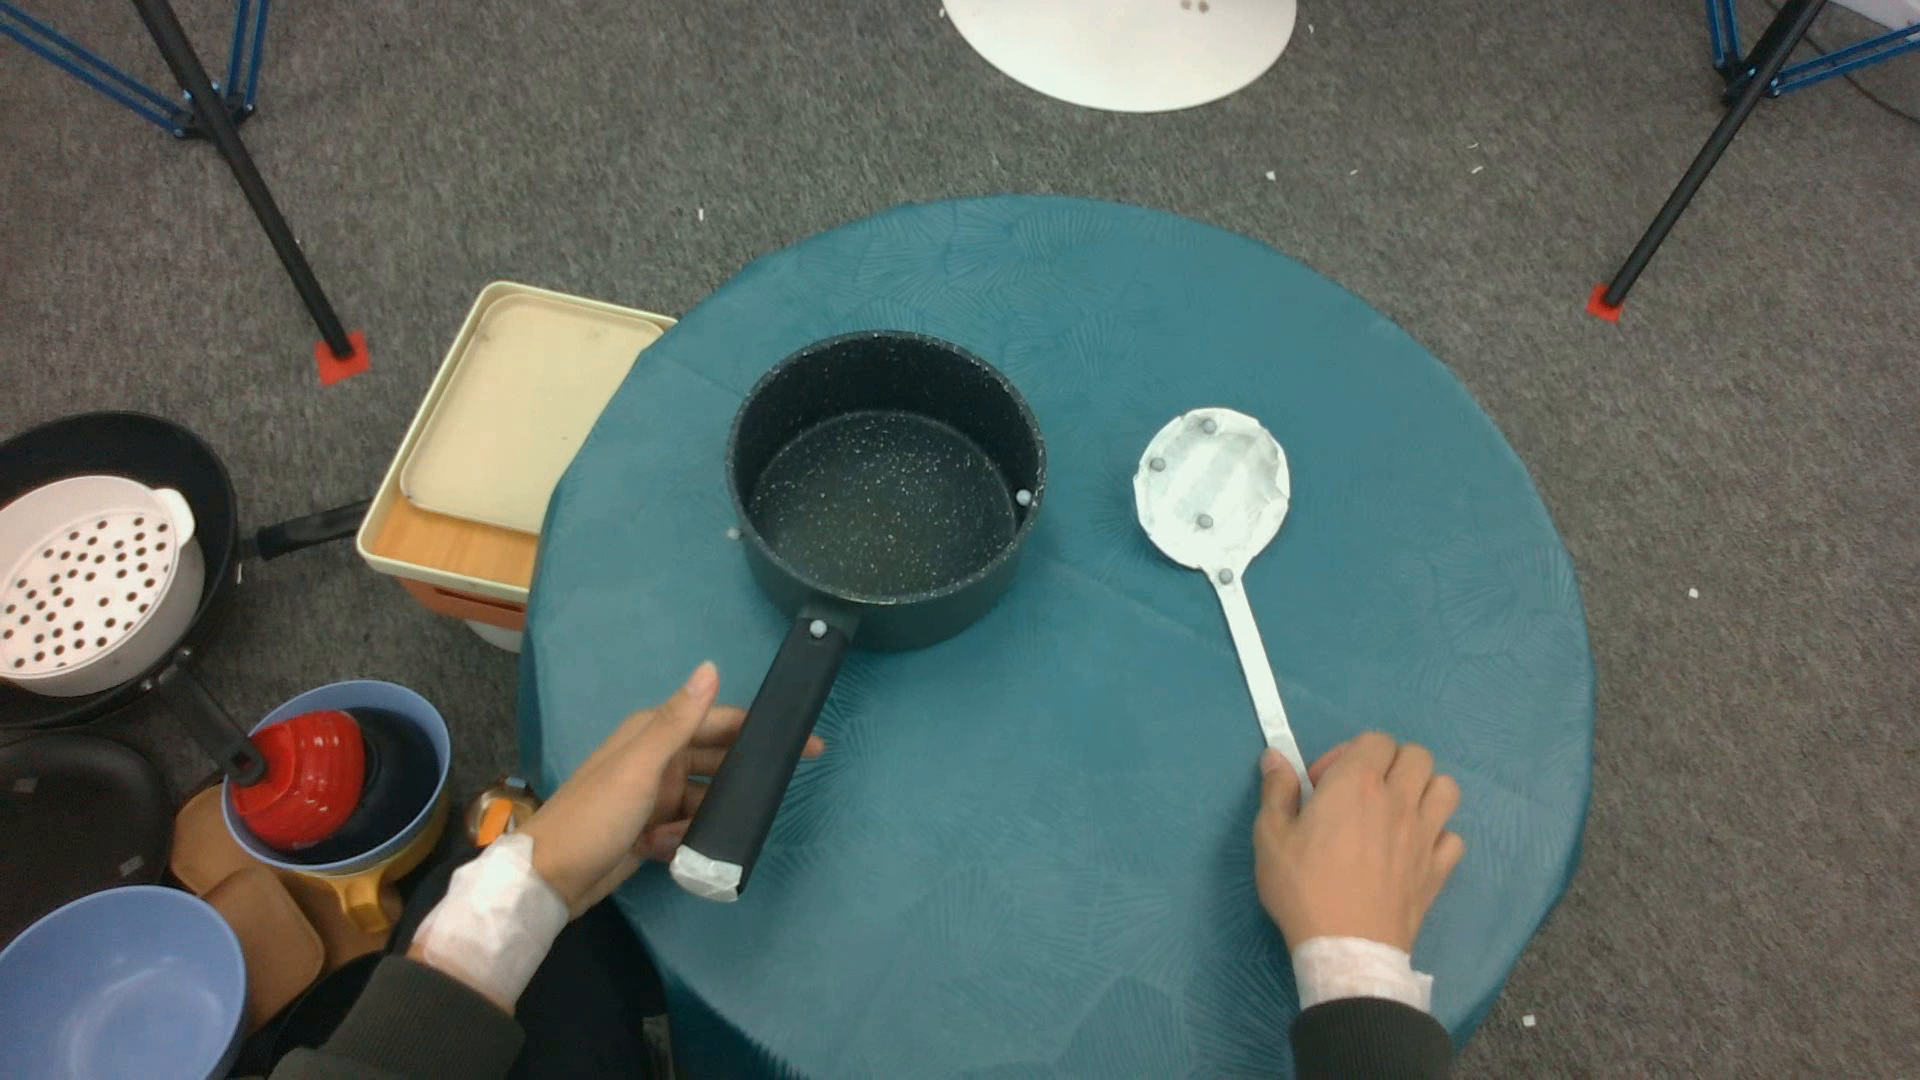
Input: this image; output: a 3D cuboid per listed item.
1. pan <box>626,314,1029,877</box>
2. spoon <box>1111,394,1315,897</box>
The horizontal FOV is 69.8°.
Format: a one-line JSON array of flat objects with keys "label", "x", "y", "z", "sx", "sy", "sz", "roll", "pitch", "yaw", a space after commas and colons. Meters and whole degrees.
[{"label": "pan", "x": -0.078, "y": 0.029, "z": 0.720, "sx": 0.172, "sy": 0.086, "sz": 0.330, "roll": 20, "pitch": 60, "yaw": 7}, {"label": "spoon", "x": 0.149, "y": 0.051, "z": 0.746, "sx": 0.101, "sy": 0.059, "sz": 0.278, "roll": -7, "pitch": 62, "yaw": -6}]
